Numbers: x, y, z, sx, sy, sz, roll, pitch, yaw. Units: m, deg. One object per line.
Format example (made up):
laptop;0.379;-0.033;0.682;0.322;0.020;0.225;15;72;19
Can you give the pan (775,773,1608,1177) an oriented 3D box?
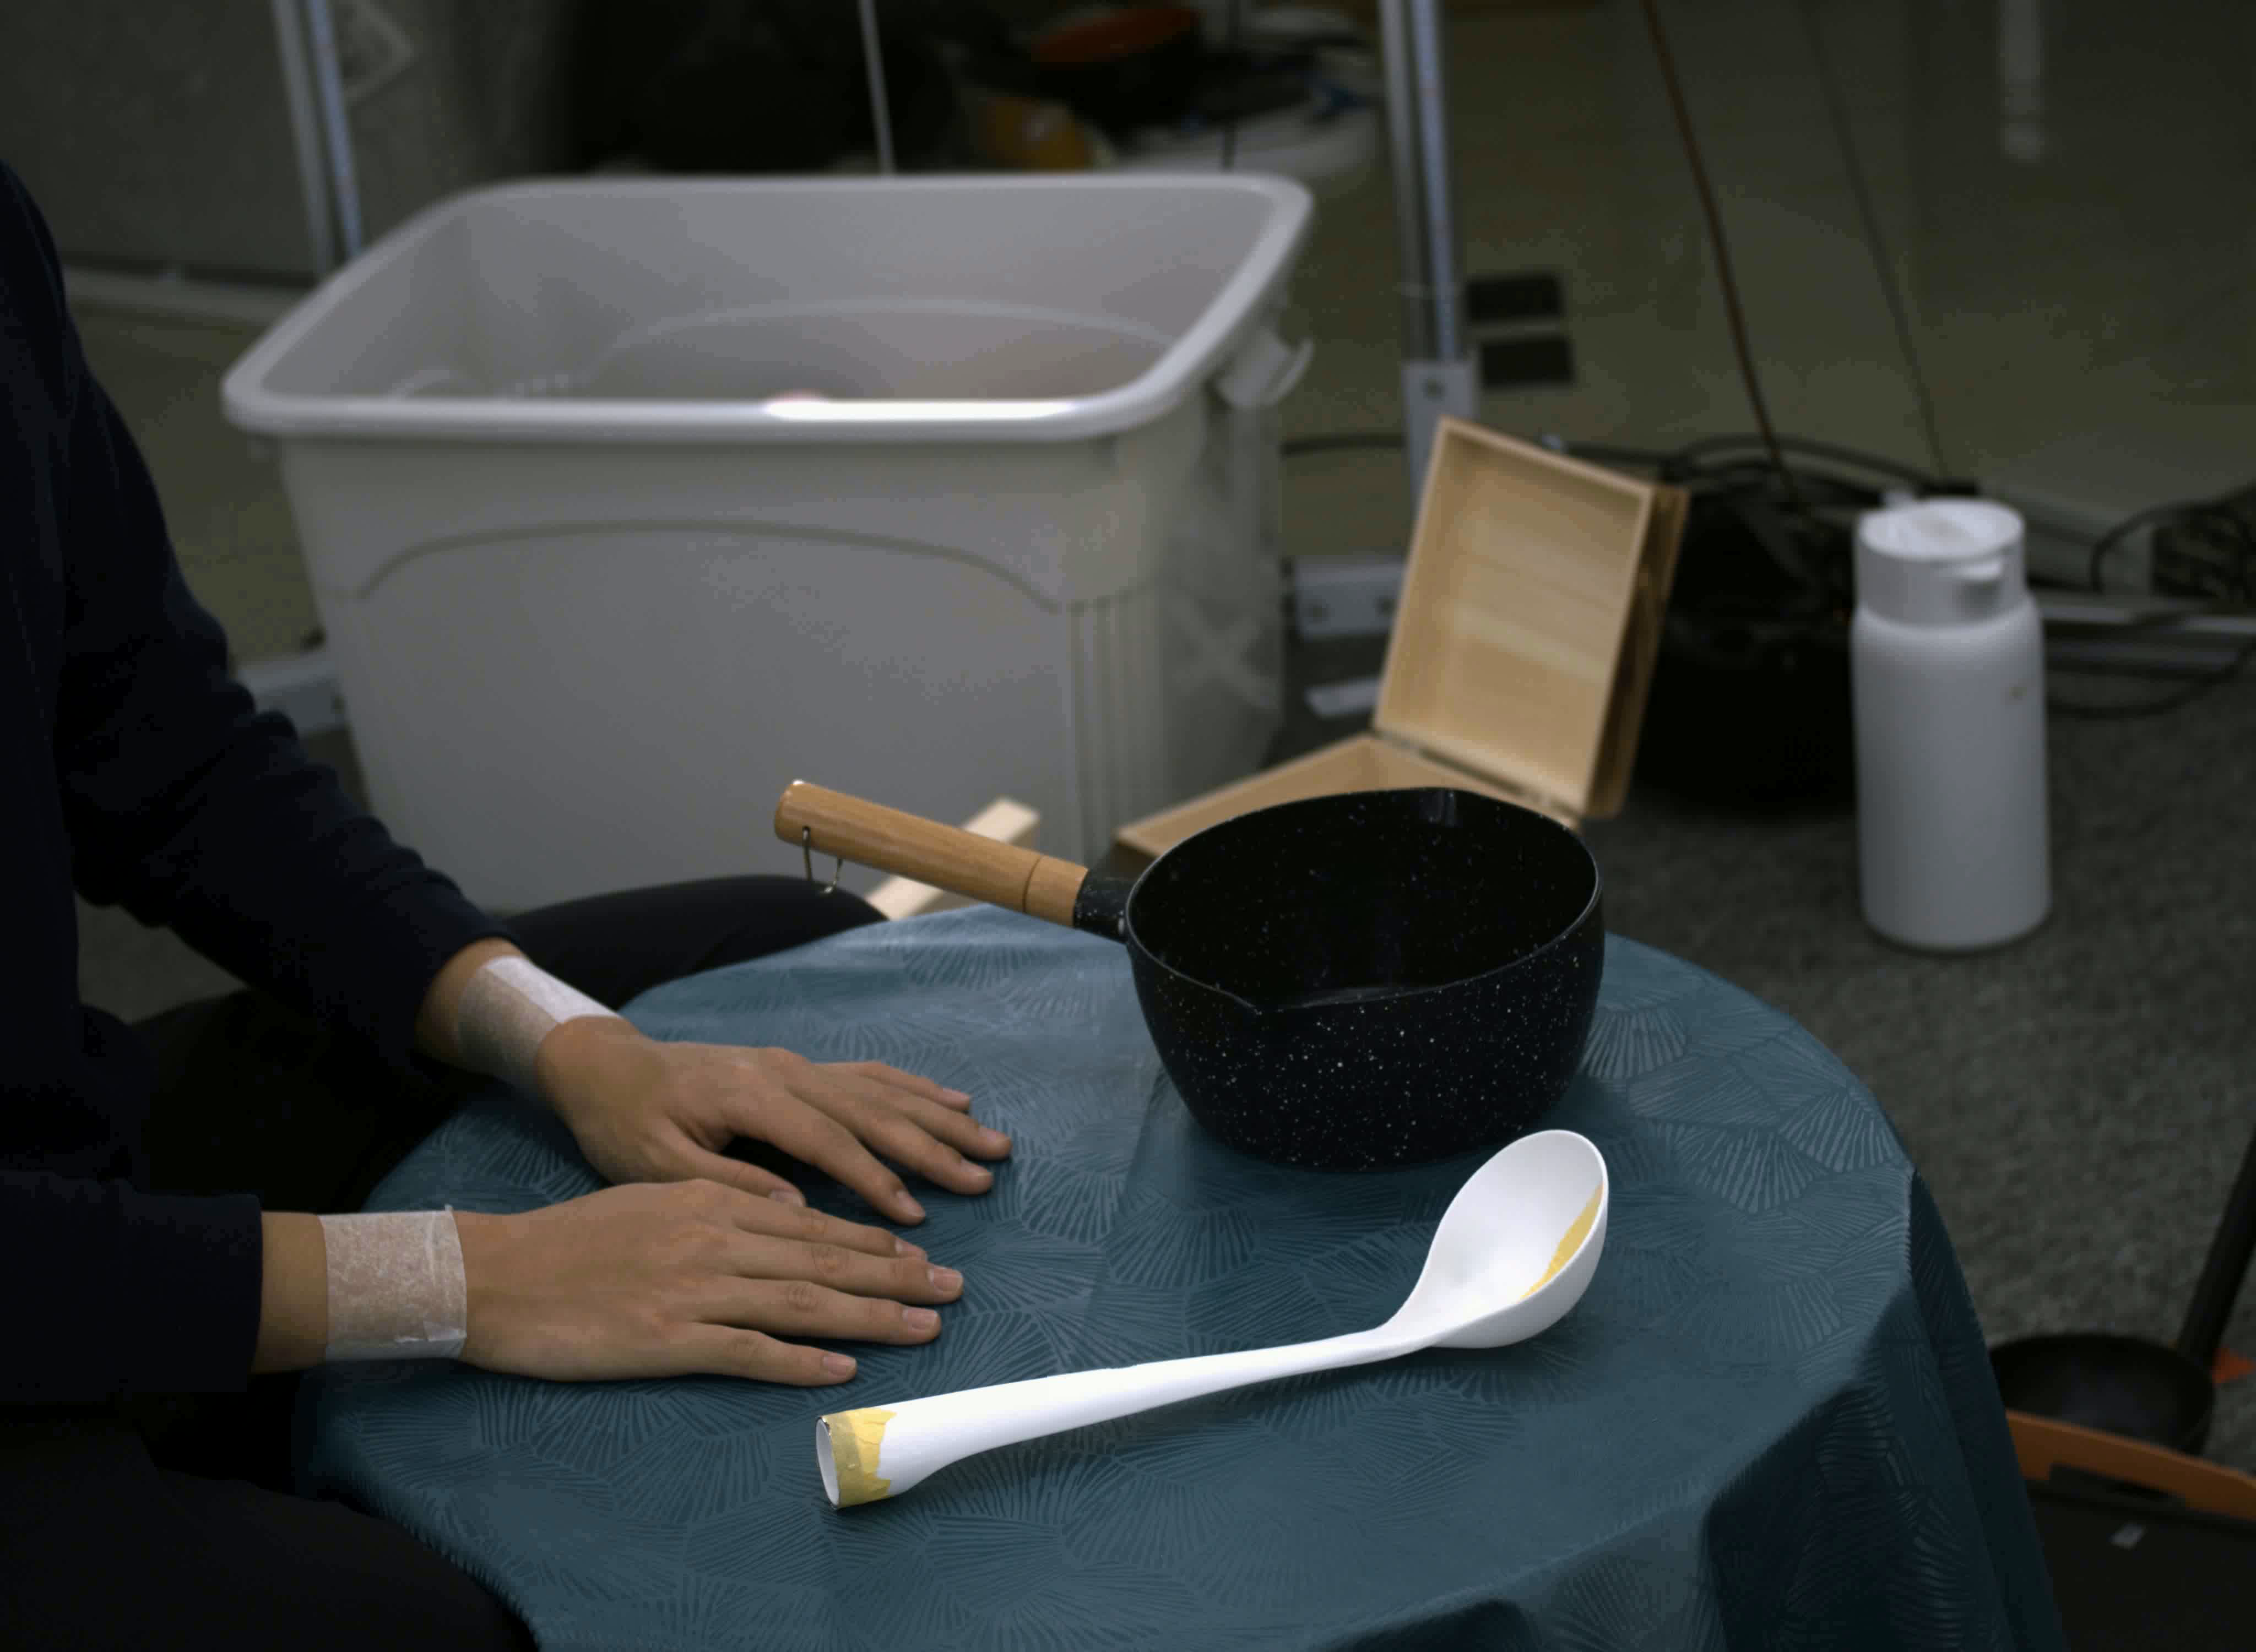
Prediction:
pan;0.020;0.046;2.211;0.341;0.110;0.204;6;29;21

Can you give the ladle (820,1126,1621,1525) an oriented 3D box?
ladle;0.033;0.177;1.980;0.292;0.071;0.089;-13;31;-12
